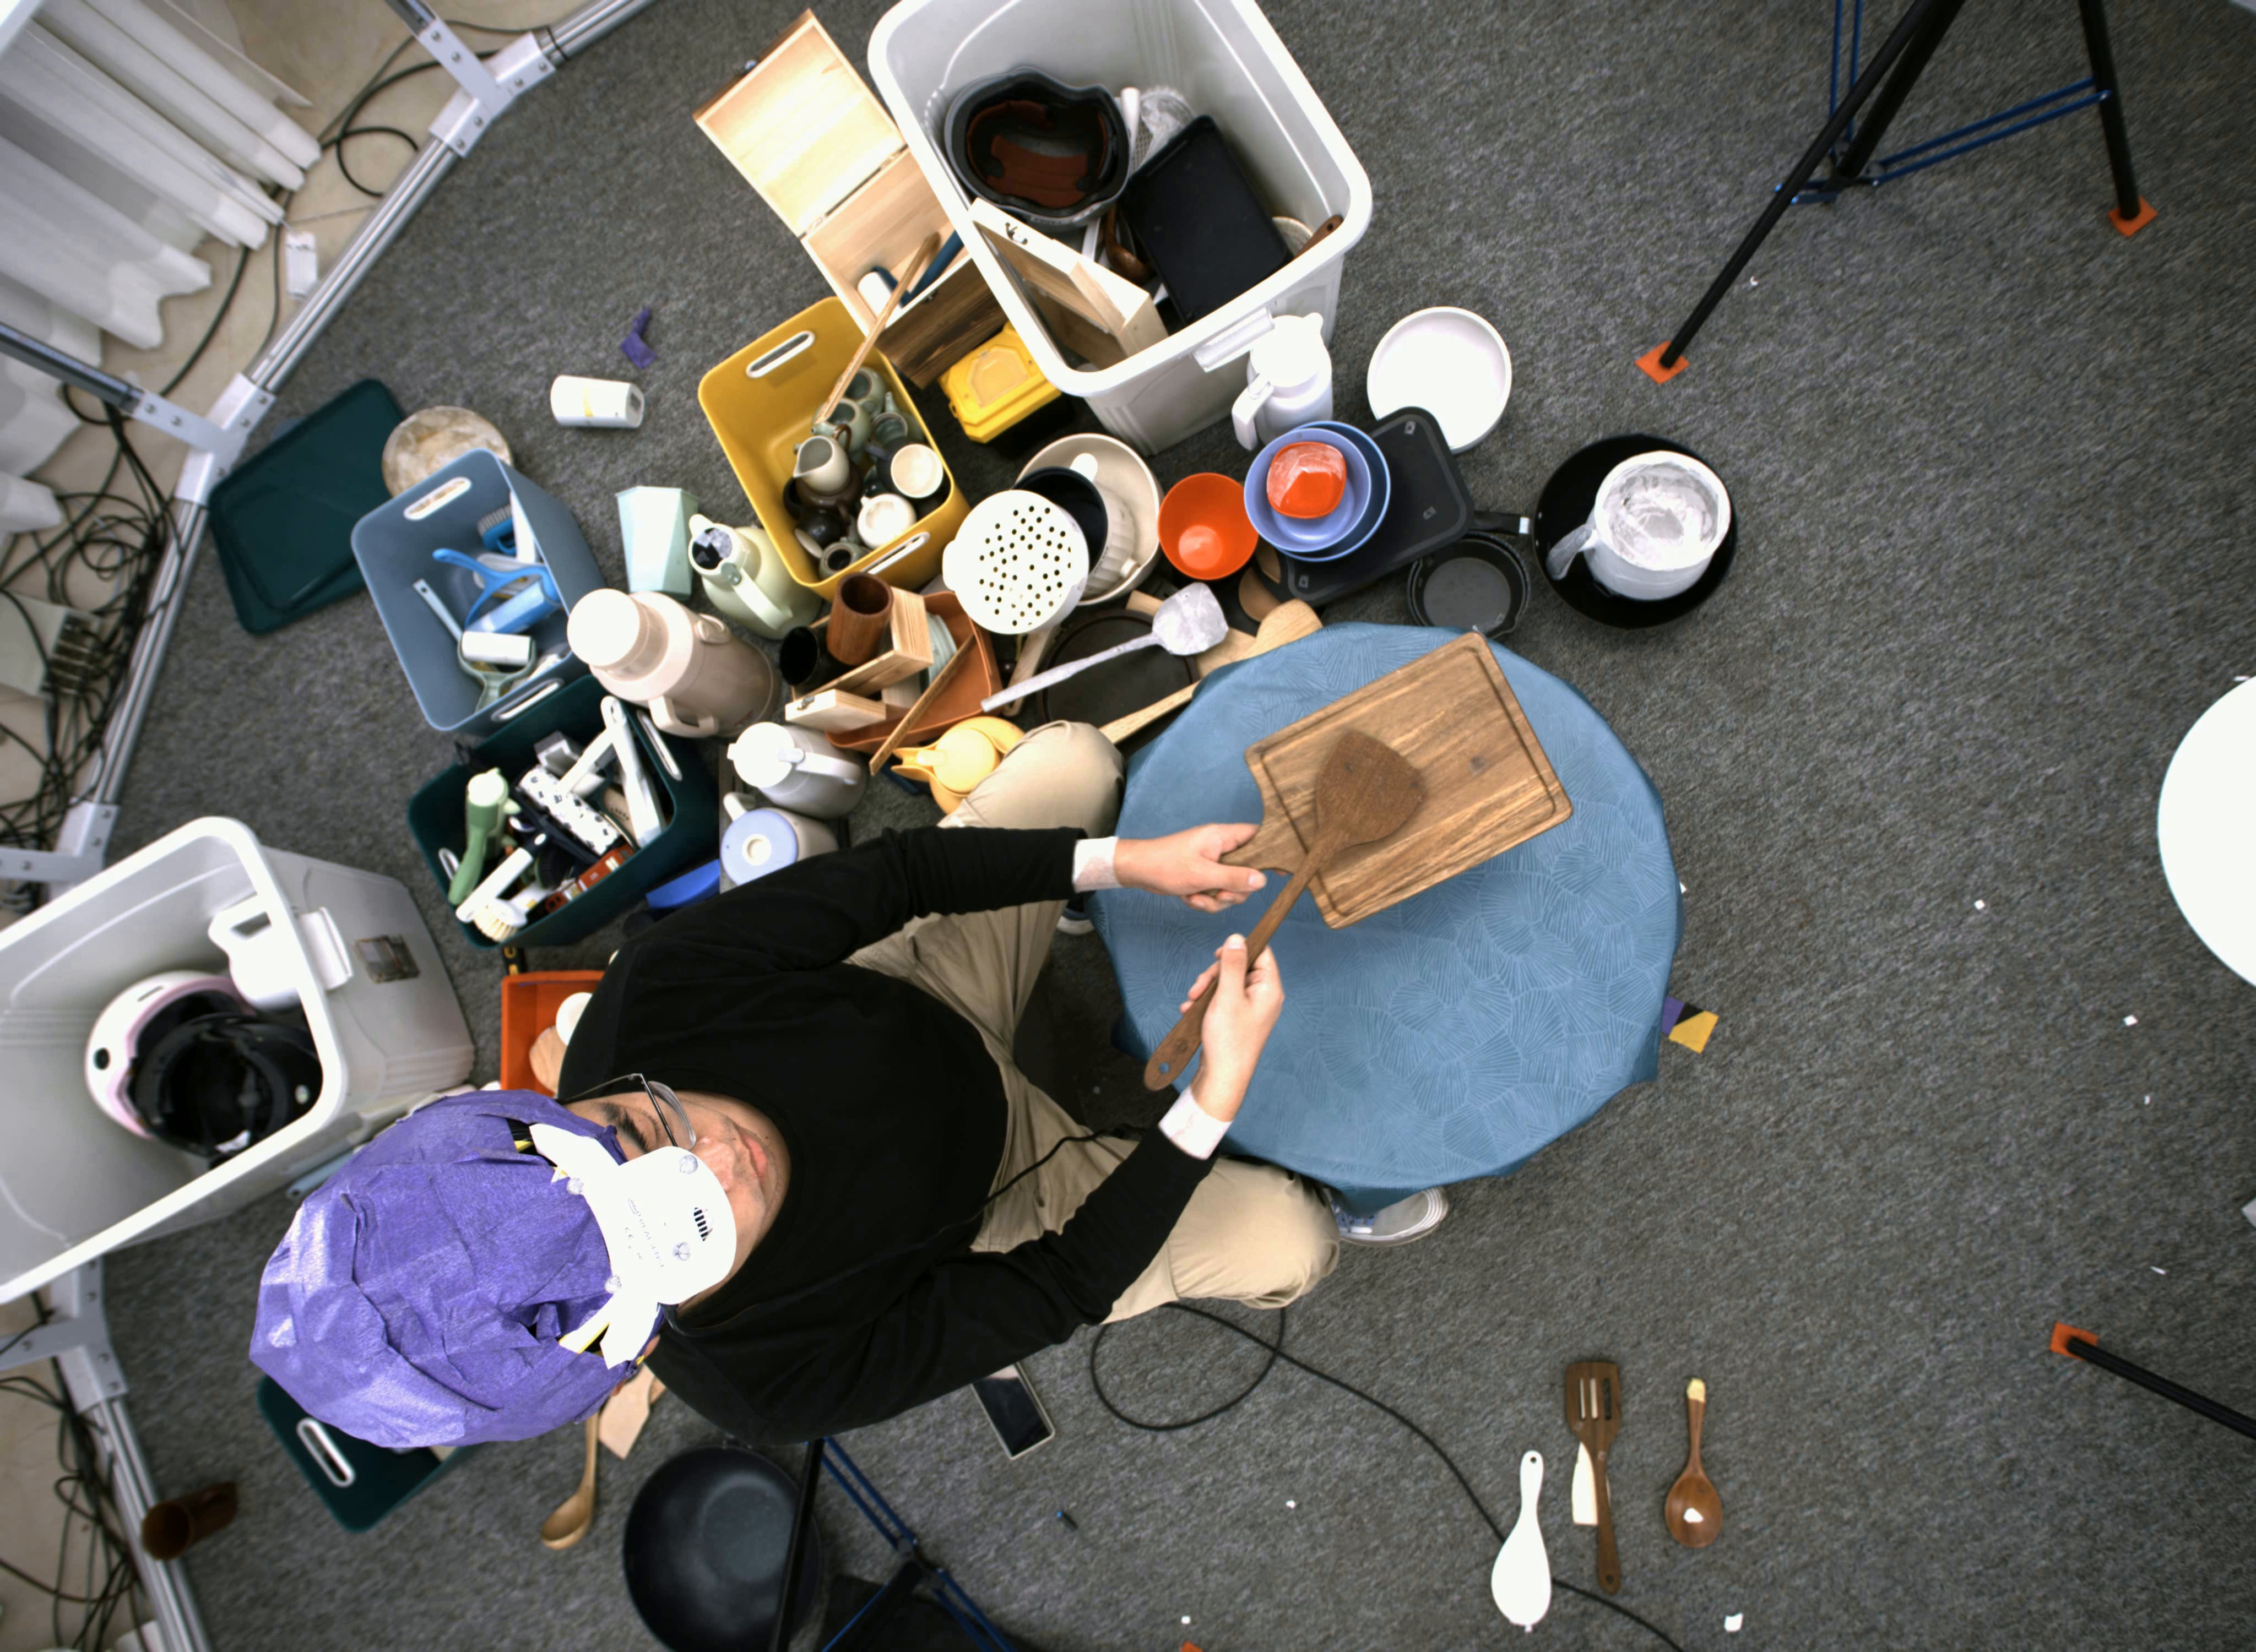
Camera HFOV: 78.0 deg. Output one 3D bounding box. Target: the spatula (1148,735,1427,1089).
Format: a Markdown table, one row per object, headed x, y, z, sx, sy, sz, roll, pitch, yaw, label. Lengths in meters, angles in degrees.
| x | y | z | sx | sy | sz | roll | pitch | yaw | label |
| --- | --- | --- | --- | --- | --- | --- | --- | --- | --- |
| 0.137 | 0.080 | 1.262 | 0.096 | 0.016 | 0.382 | 36 | 81 | 6 | spatula |

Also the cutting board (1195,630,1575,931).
| x | y | z | sx | sy | sz | roll | pitch | yaw | label |
| --- | --- | --- | --- | --- | --- | --- | --- | --- | --- |
| 0.220 | -0.021 | 1.309 | 0.355 | 0.023 | 0.200 | -28 | 85 | 13 | cutting board |
